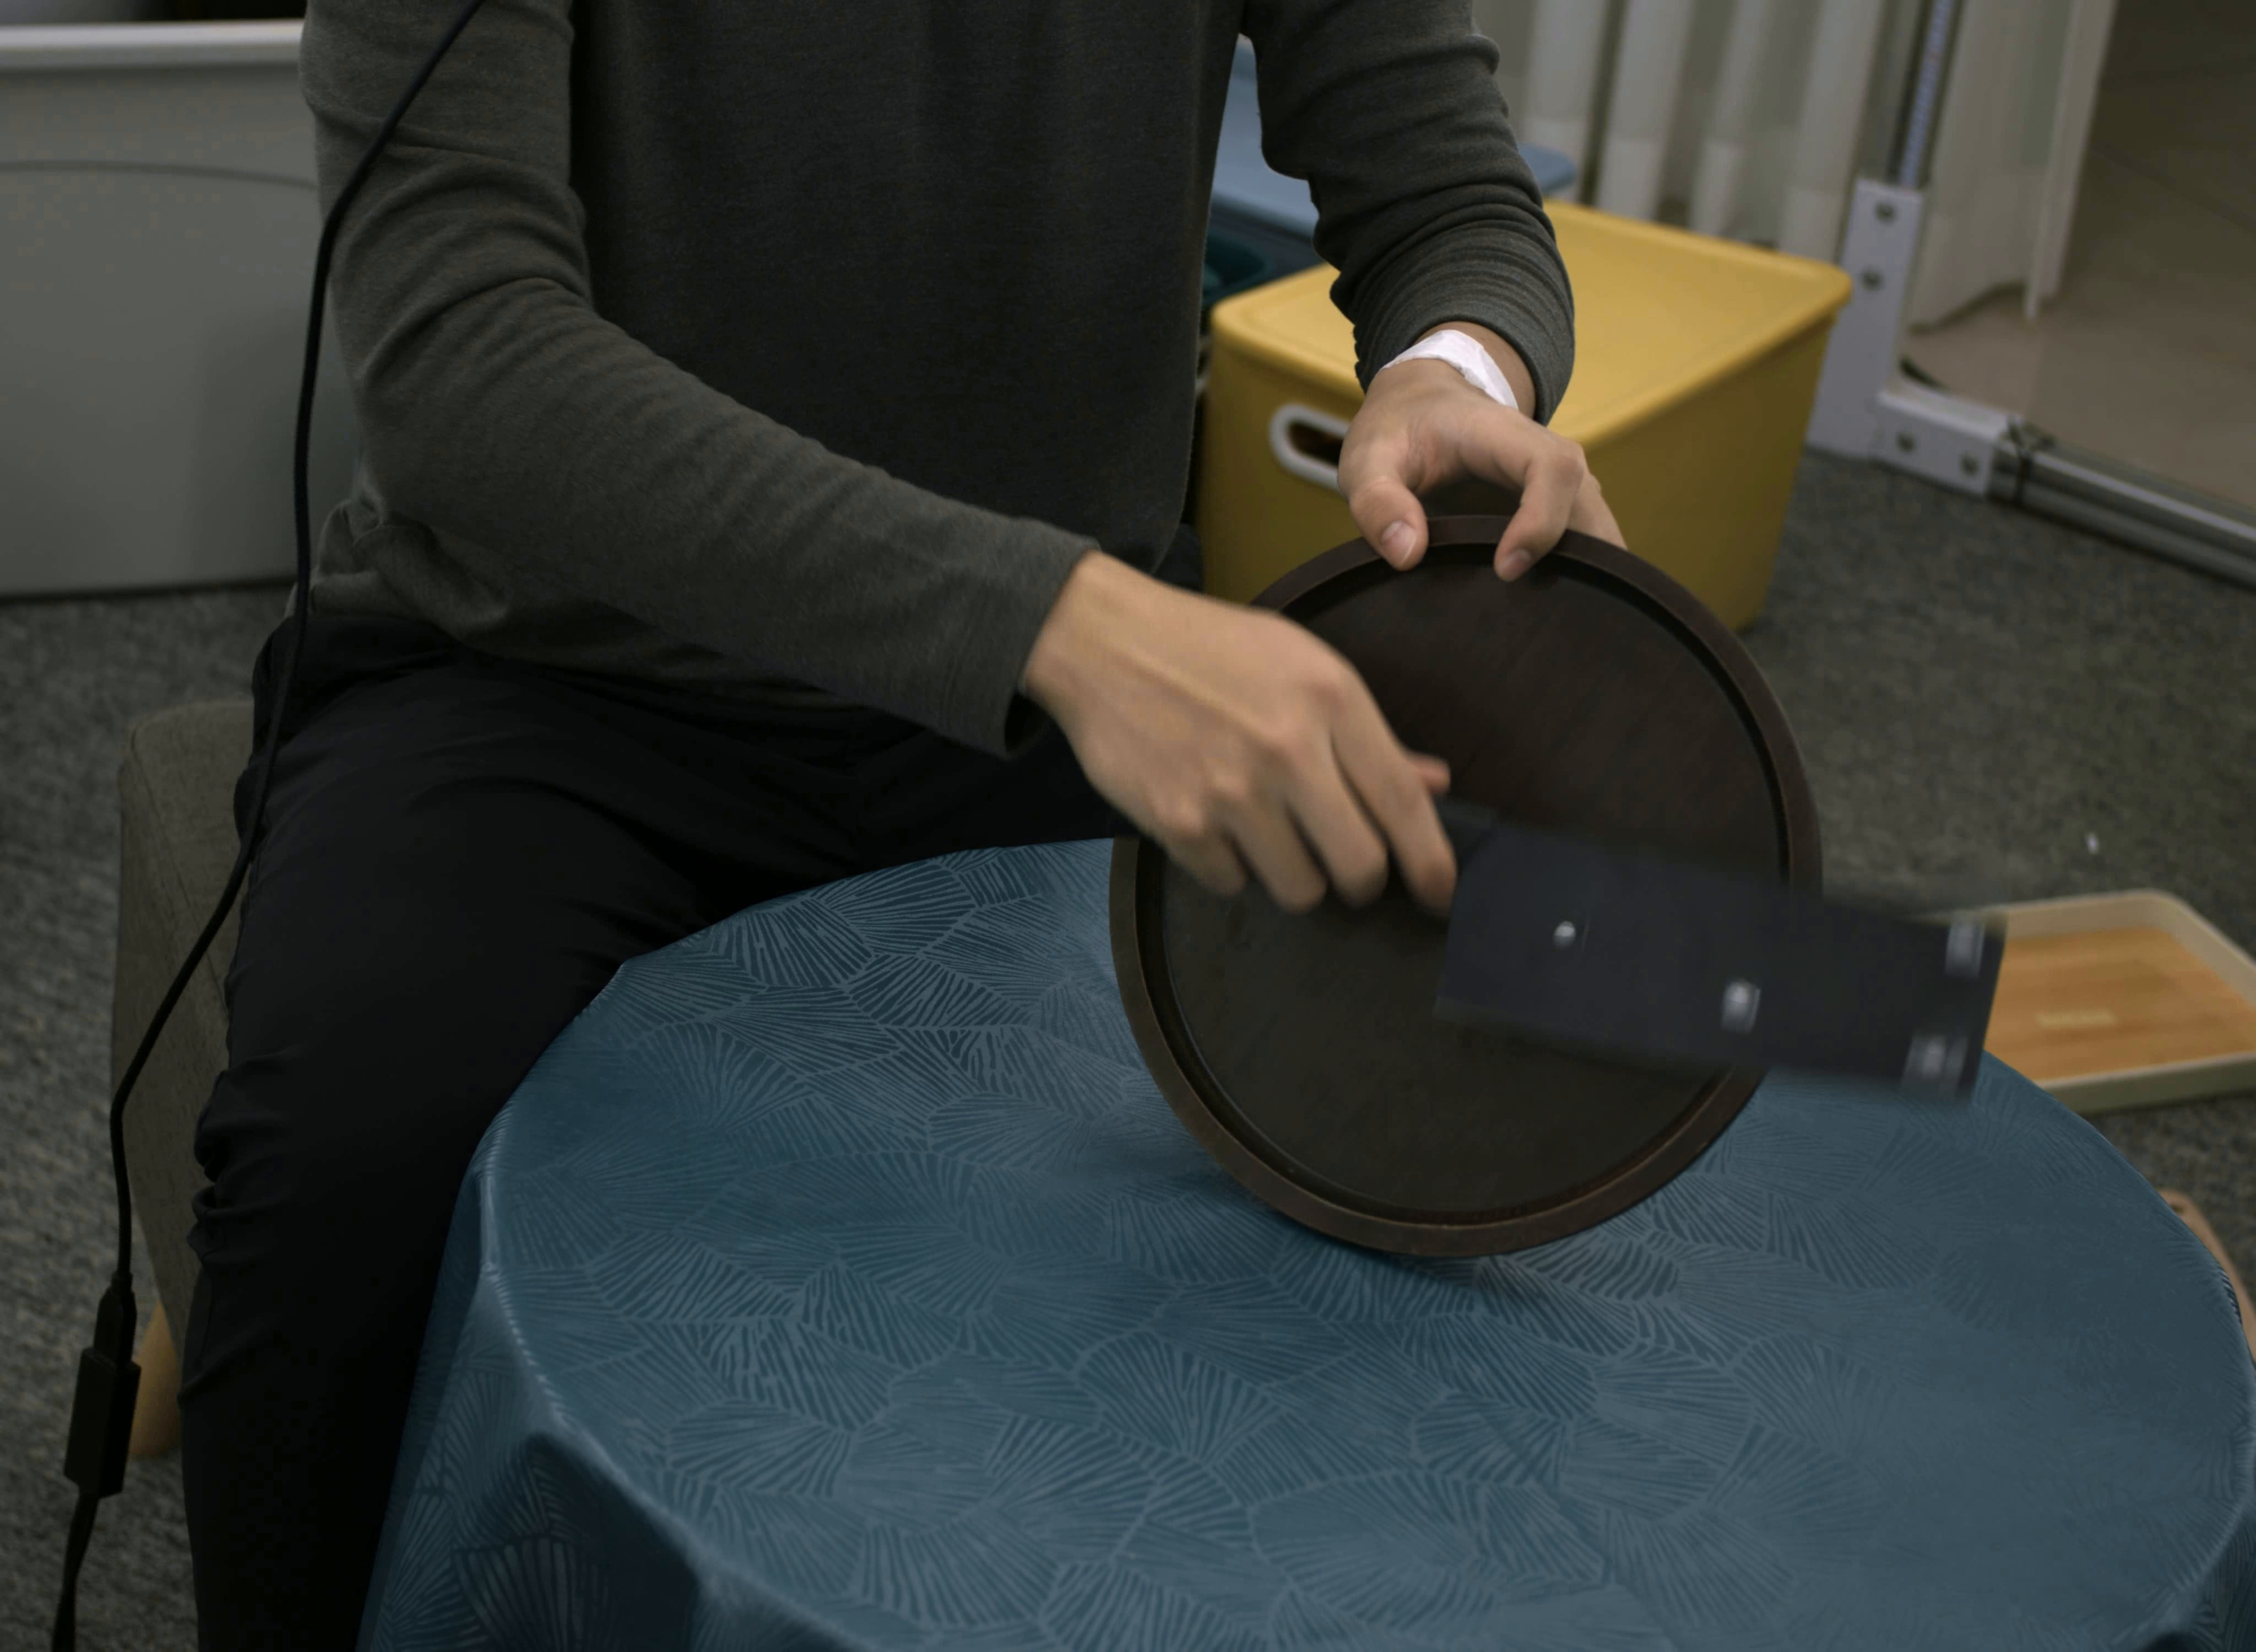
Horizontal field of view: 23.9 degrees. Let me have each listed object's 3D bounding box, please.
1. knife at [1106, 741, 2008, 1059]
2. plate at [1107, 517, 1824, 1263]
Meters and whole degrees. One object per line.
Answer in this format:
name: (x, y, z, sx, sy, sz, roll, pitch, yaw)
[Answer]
knife: (0.138, 0.021, 1.754, 0.303, 0.081, 0.021, 14, 0, 14)
plate: (0.113, 0.021, 1.797, 0.256, 0.255, 0.029, 20, 1, 24)
